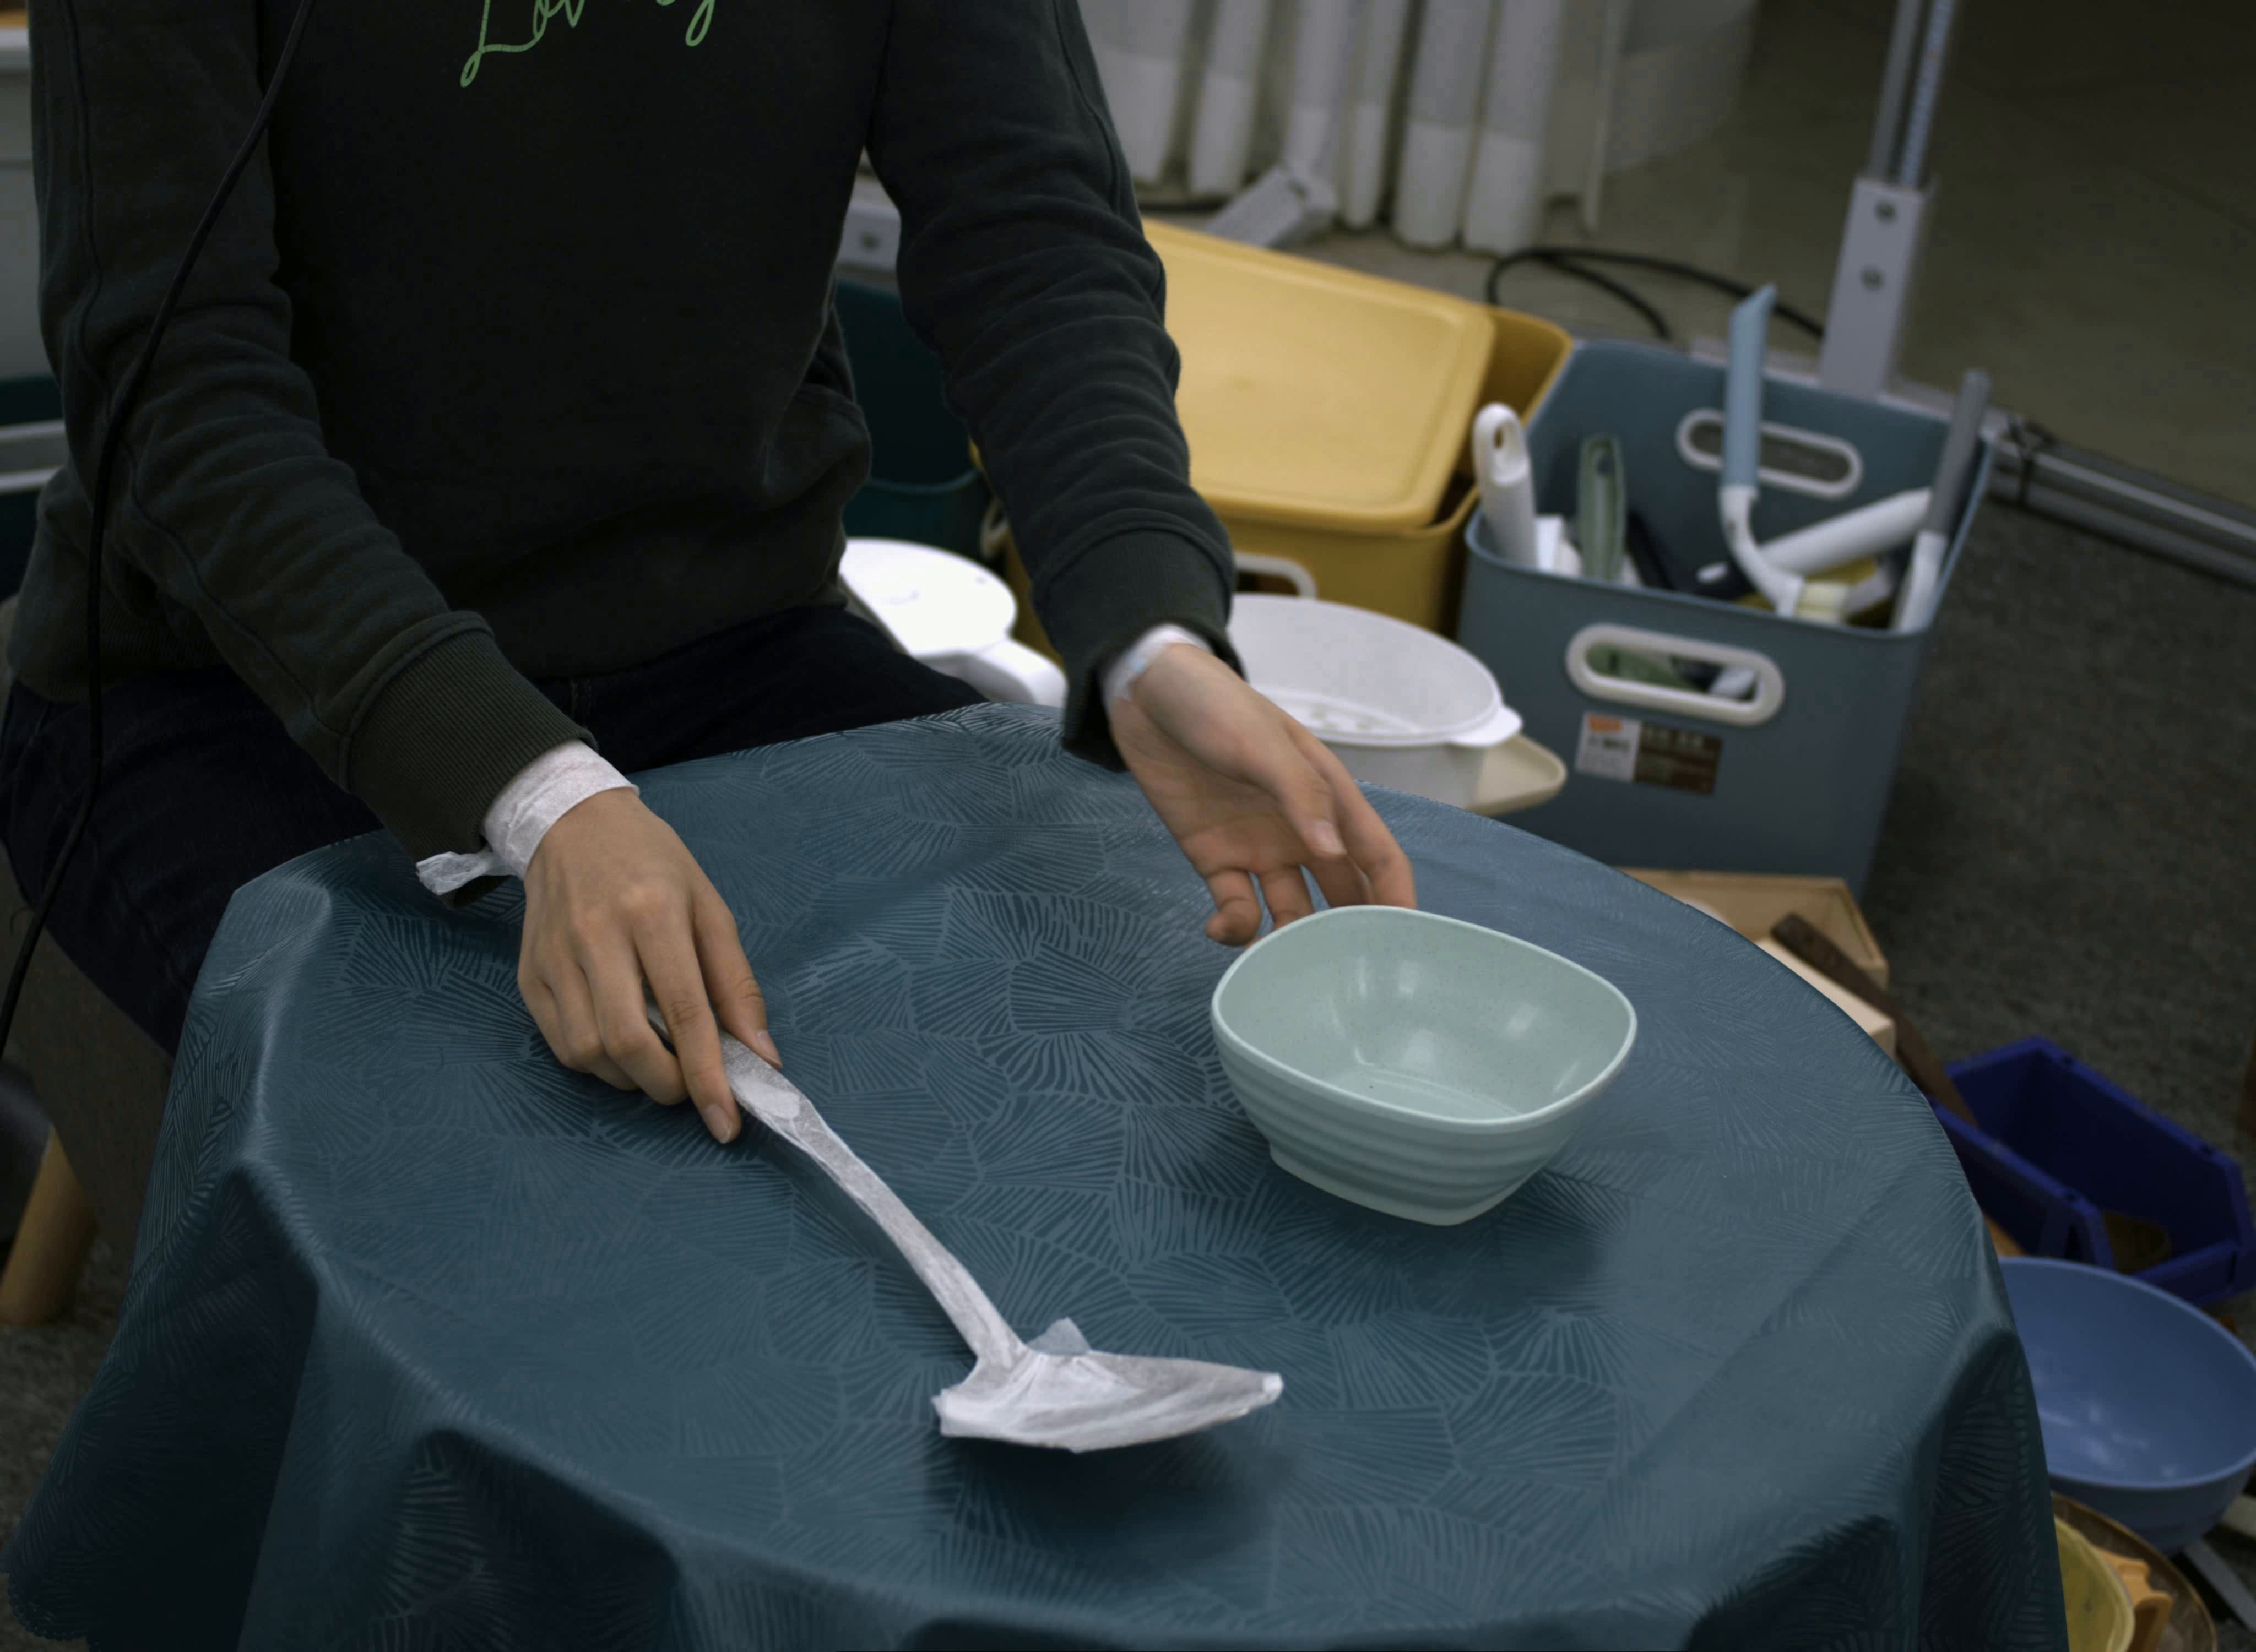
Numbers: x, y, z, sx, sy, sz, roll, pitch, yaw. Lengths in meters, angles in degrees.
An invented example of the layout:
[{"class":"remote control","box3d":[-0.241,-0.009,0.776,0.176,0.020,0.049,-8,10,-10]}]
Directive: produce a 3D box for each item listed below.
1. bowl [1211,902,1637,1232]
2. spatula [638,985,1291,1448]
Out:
[{"class":"bowl","box3d":[0.098,0.089,1.831,0.151,0.058,0.152,6,28,-4]},{"class":"spatula","box3d":[-0.078,0.120,1.747,0.098,0.044,0.368,-11,32,-30]}]
